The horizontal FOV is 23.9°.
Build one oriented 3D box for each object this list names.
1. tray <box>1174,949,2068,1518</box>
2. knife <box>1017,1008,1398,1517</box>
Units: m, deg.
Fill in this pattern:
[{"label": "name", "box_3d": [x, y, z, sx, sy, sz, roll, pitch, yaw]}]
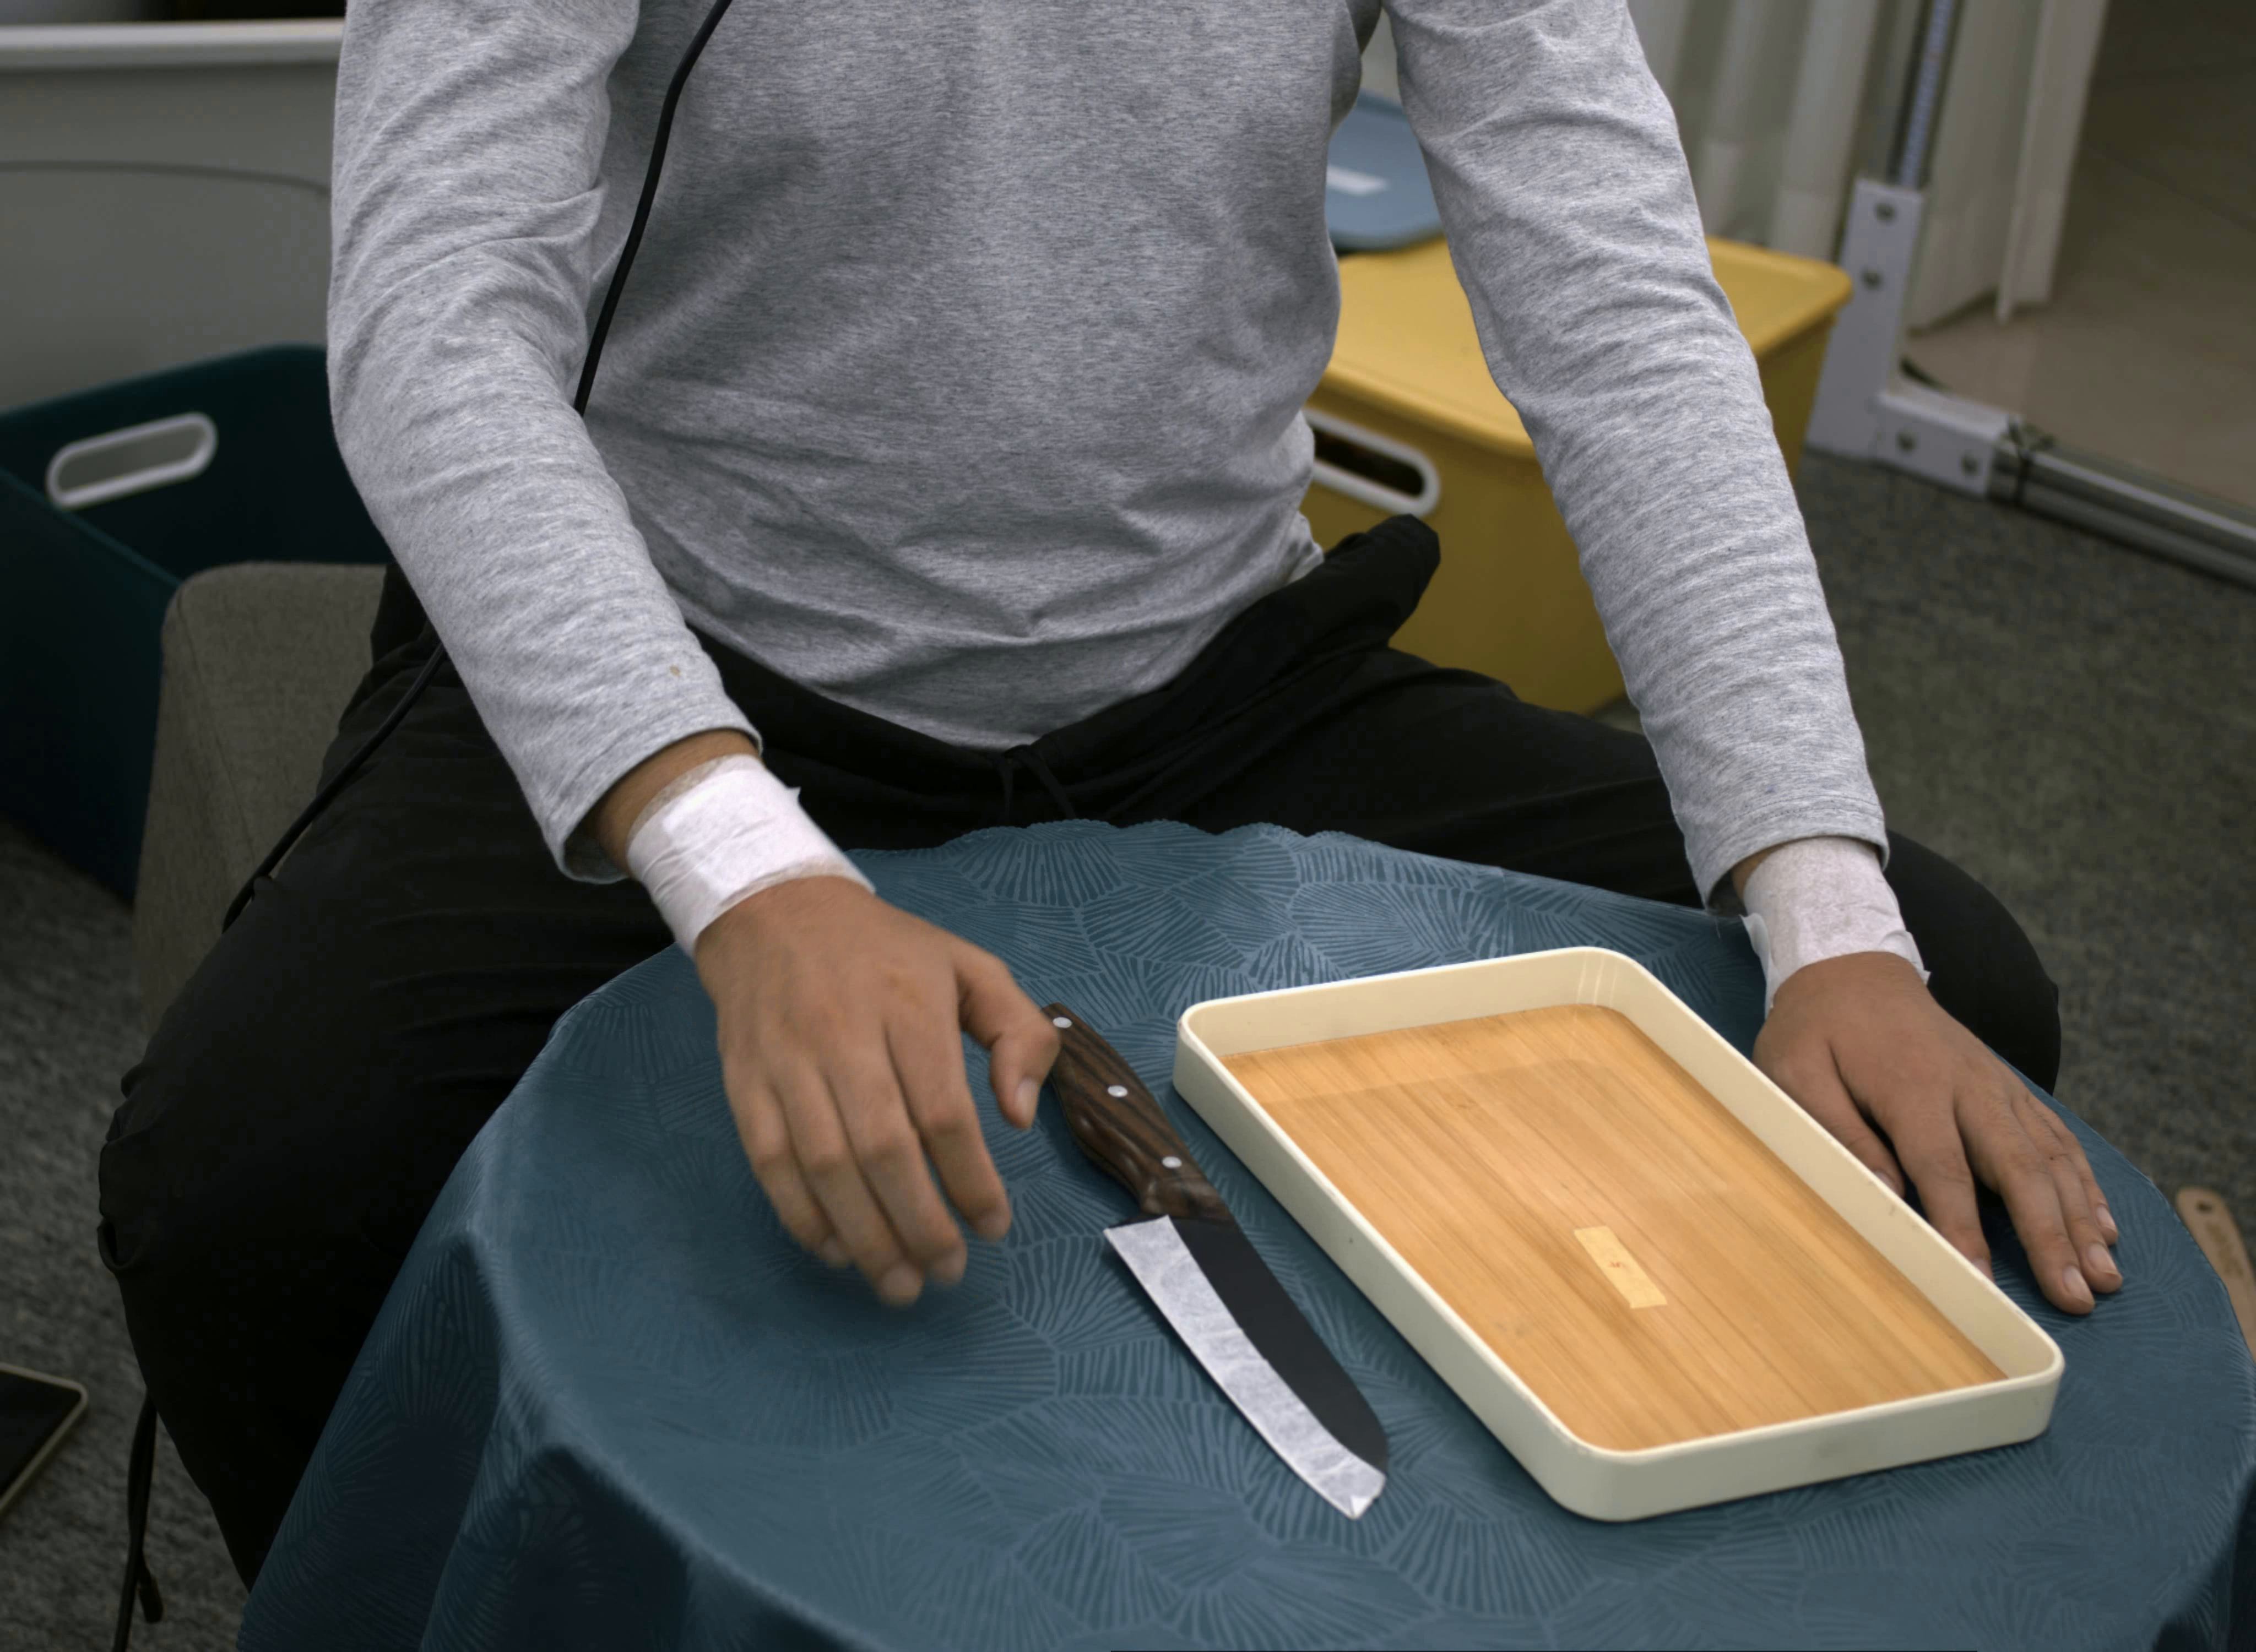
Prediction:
[{"label": "tray", "box_3d": [0.160, 0.131, 1.798, 0.190, 0.027, 0.303, -7, 29, -26]}, {"label": "knife", "box_3d": [0.023, 0.142, 1.759, 0.050, 0.020, 0.292, -9, 33, -19]}]
